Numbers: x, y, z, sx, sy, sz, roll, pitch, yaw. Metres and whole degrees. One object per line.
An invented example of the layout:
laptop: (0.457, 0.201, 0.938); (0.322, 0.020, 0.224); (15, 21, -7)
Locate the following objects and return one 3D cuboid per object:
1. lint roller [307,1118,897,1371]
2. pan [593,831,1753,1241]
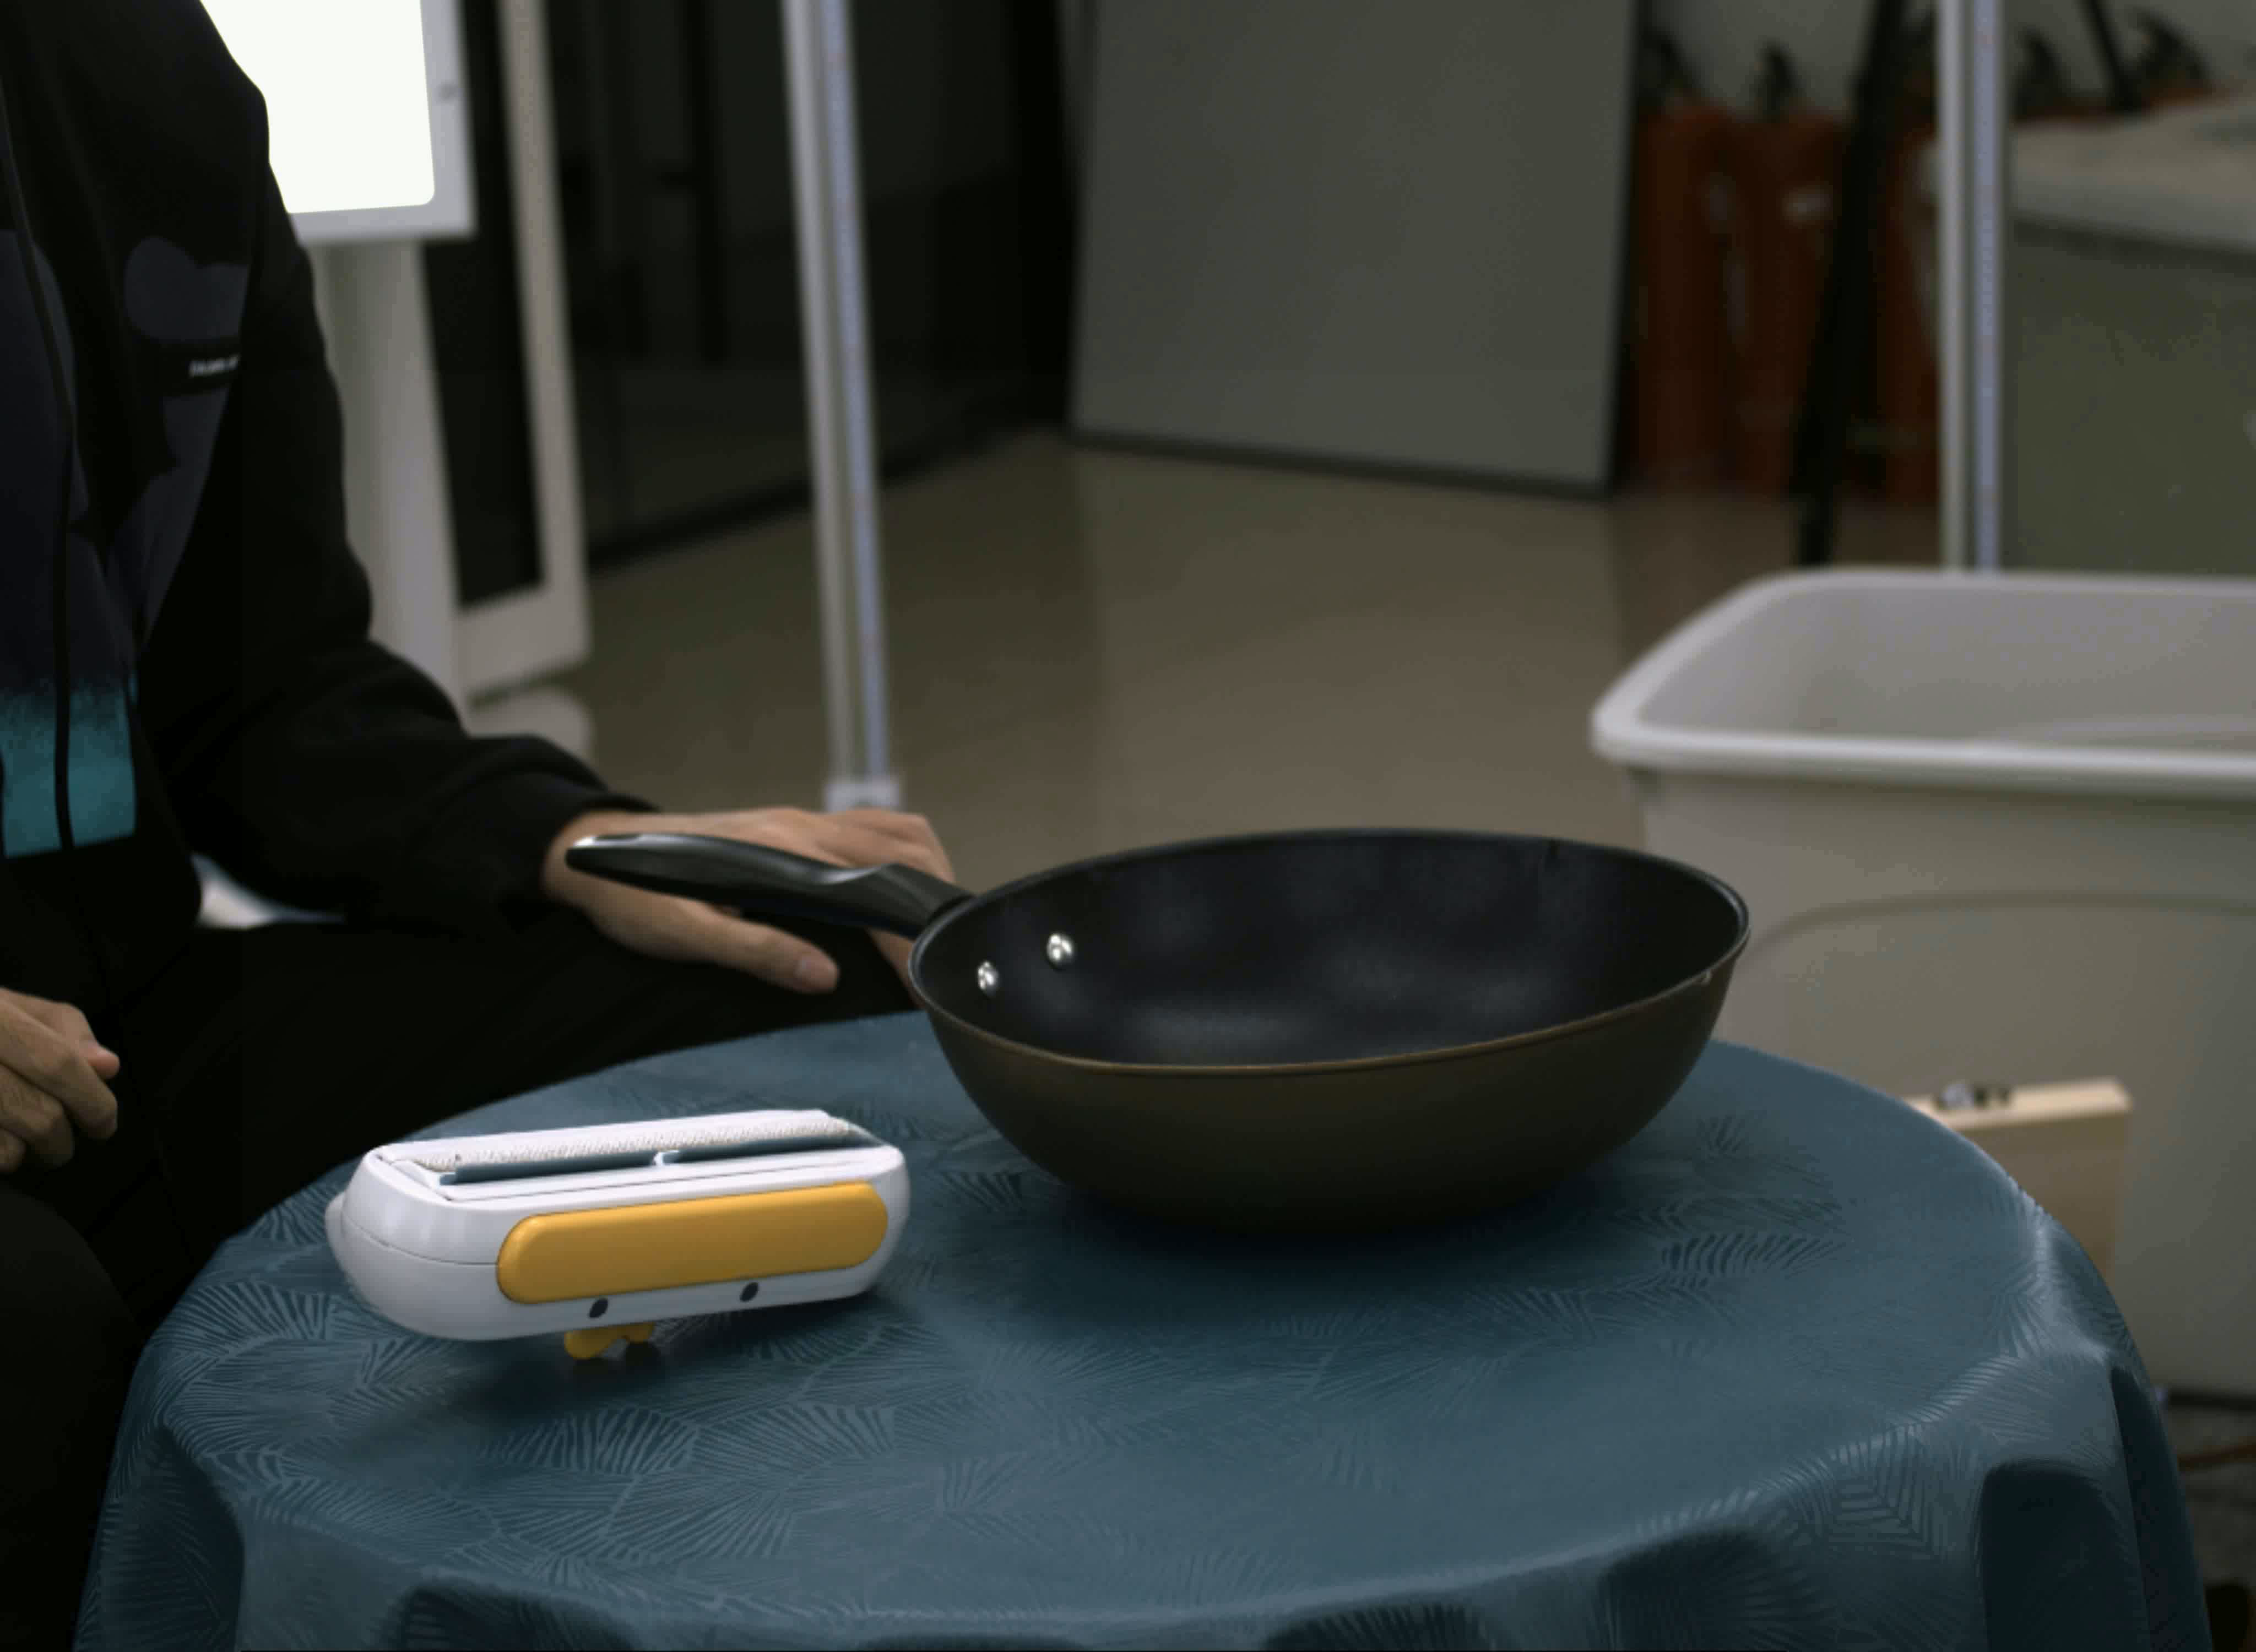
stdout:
lint roller: (-0.191, 0.121, 1.687); (0.188, 0.075, 0.194); (-7, 11, -36)
pan: (-0.005, 0.065, 1.824); (0.466, 0.088, 0.283); (6, 17, 36)
